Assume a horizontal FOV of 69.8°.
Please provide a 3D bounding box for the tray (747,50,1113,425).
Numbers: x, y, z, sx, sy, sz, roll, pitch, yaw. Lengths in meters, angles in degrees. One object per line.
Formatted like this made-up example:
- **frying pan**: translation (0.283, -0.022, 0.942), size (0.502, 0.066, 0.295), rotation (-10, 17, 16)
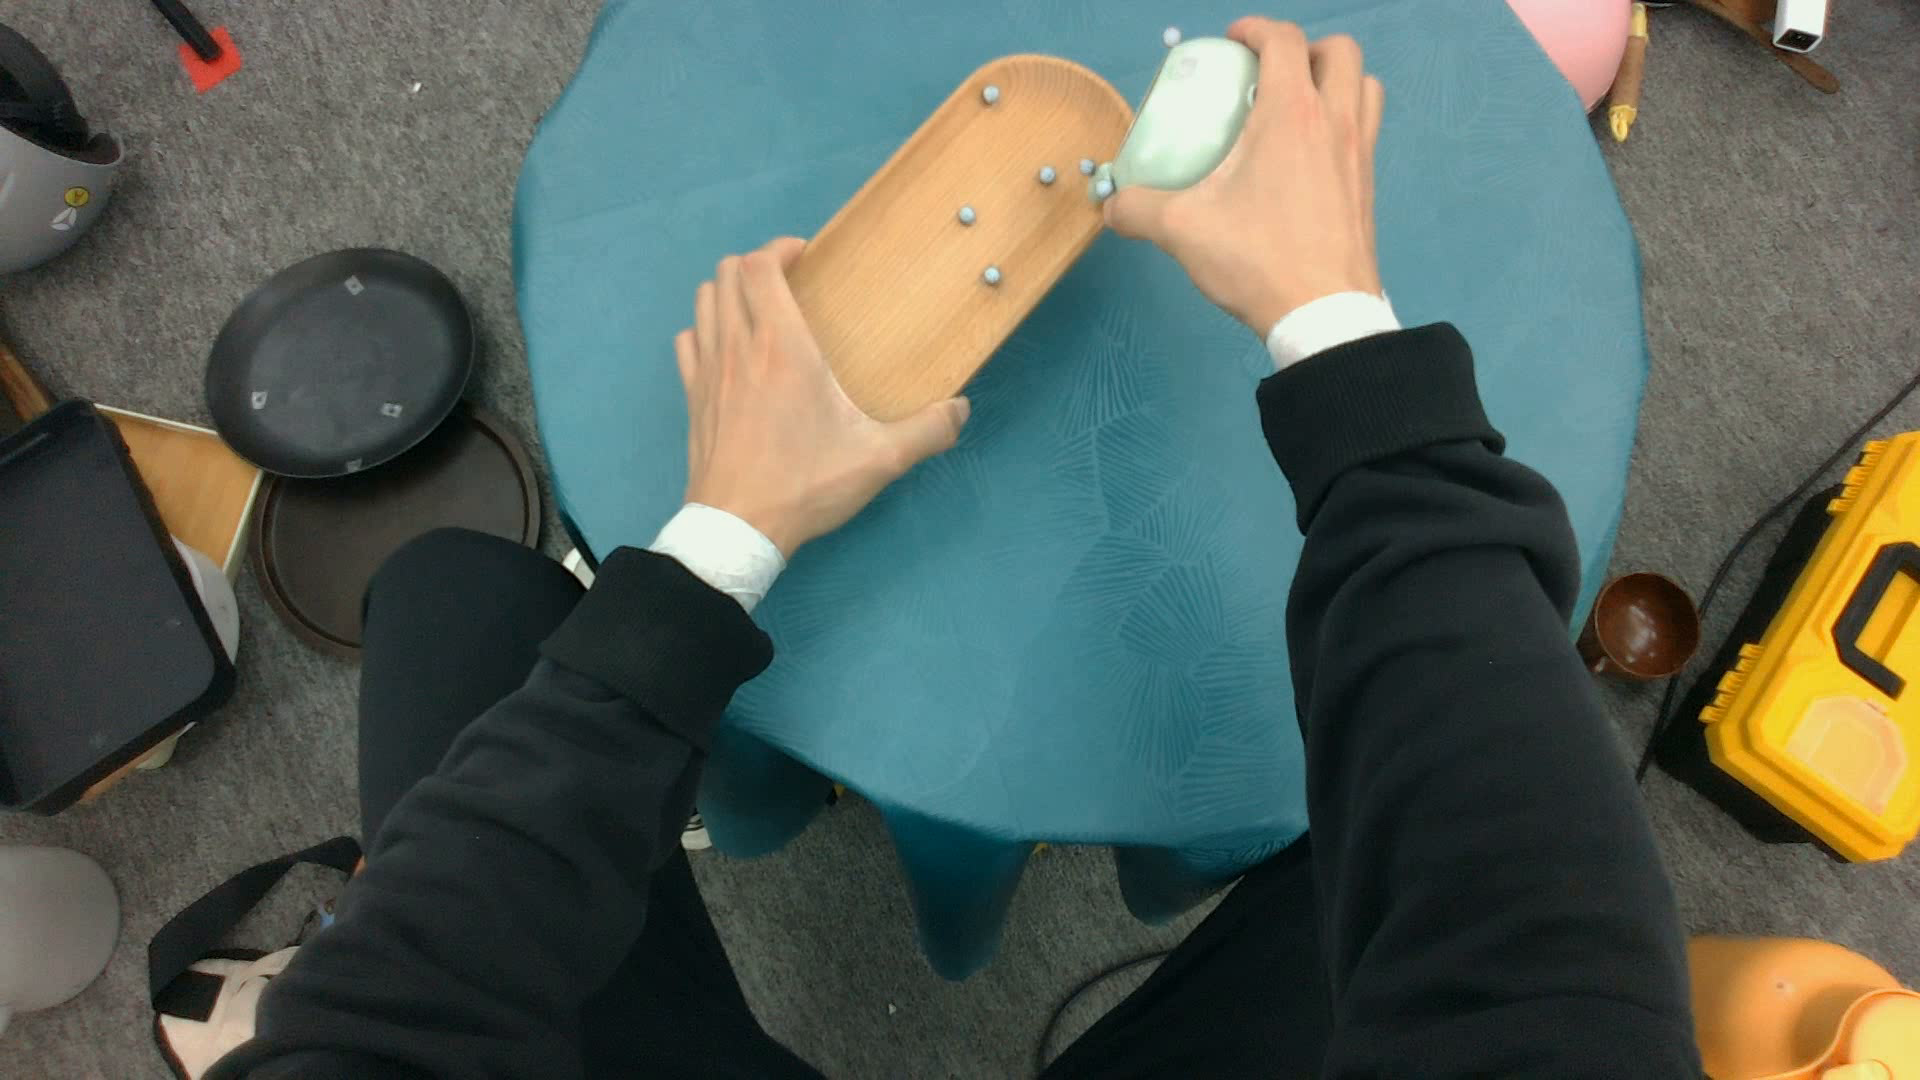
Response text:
- **tray**: translation (-0.010, -0.150, 0.669), size (0.101, 0.020, 0.232), rotation (37, 73, 5)

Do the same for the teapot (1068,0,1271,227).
- **teapot**: translation (0.097, -0.185, 0.616), size (0.075, 0.143, 0.088), rotation (23, 72, -2)
